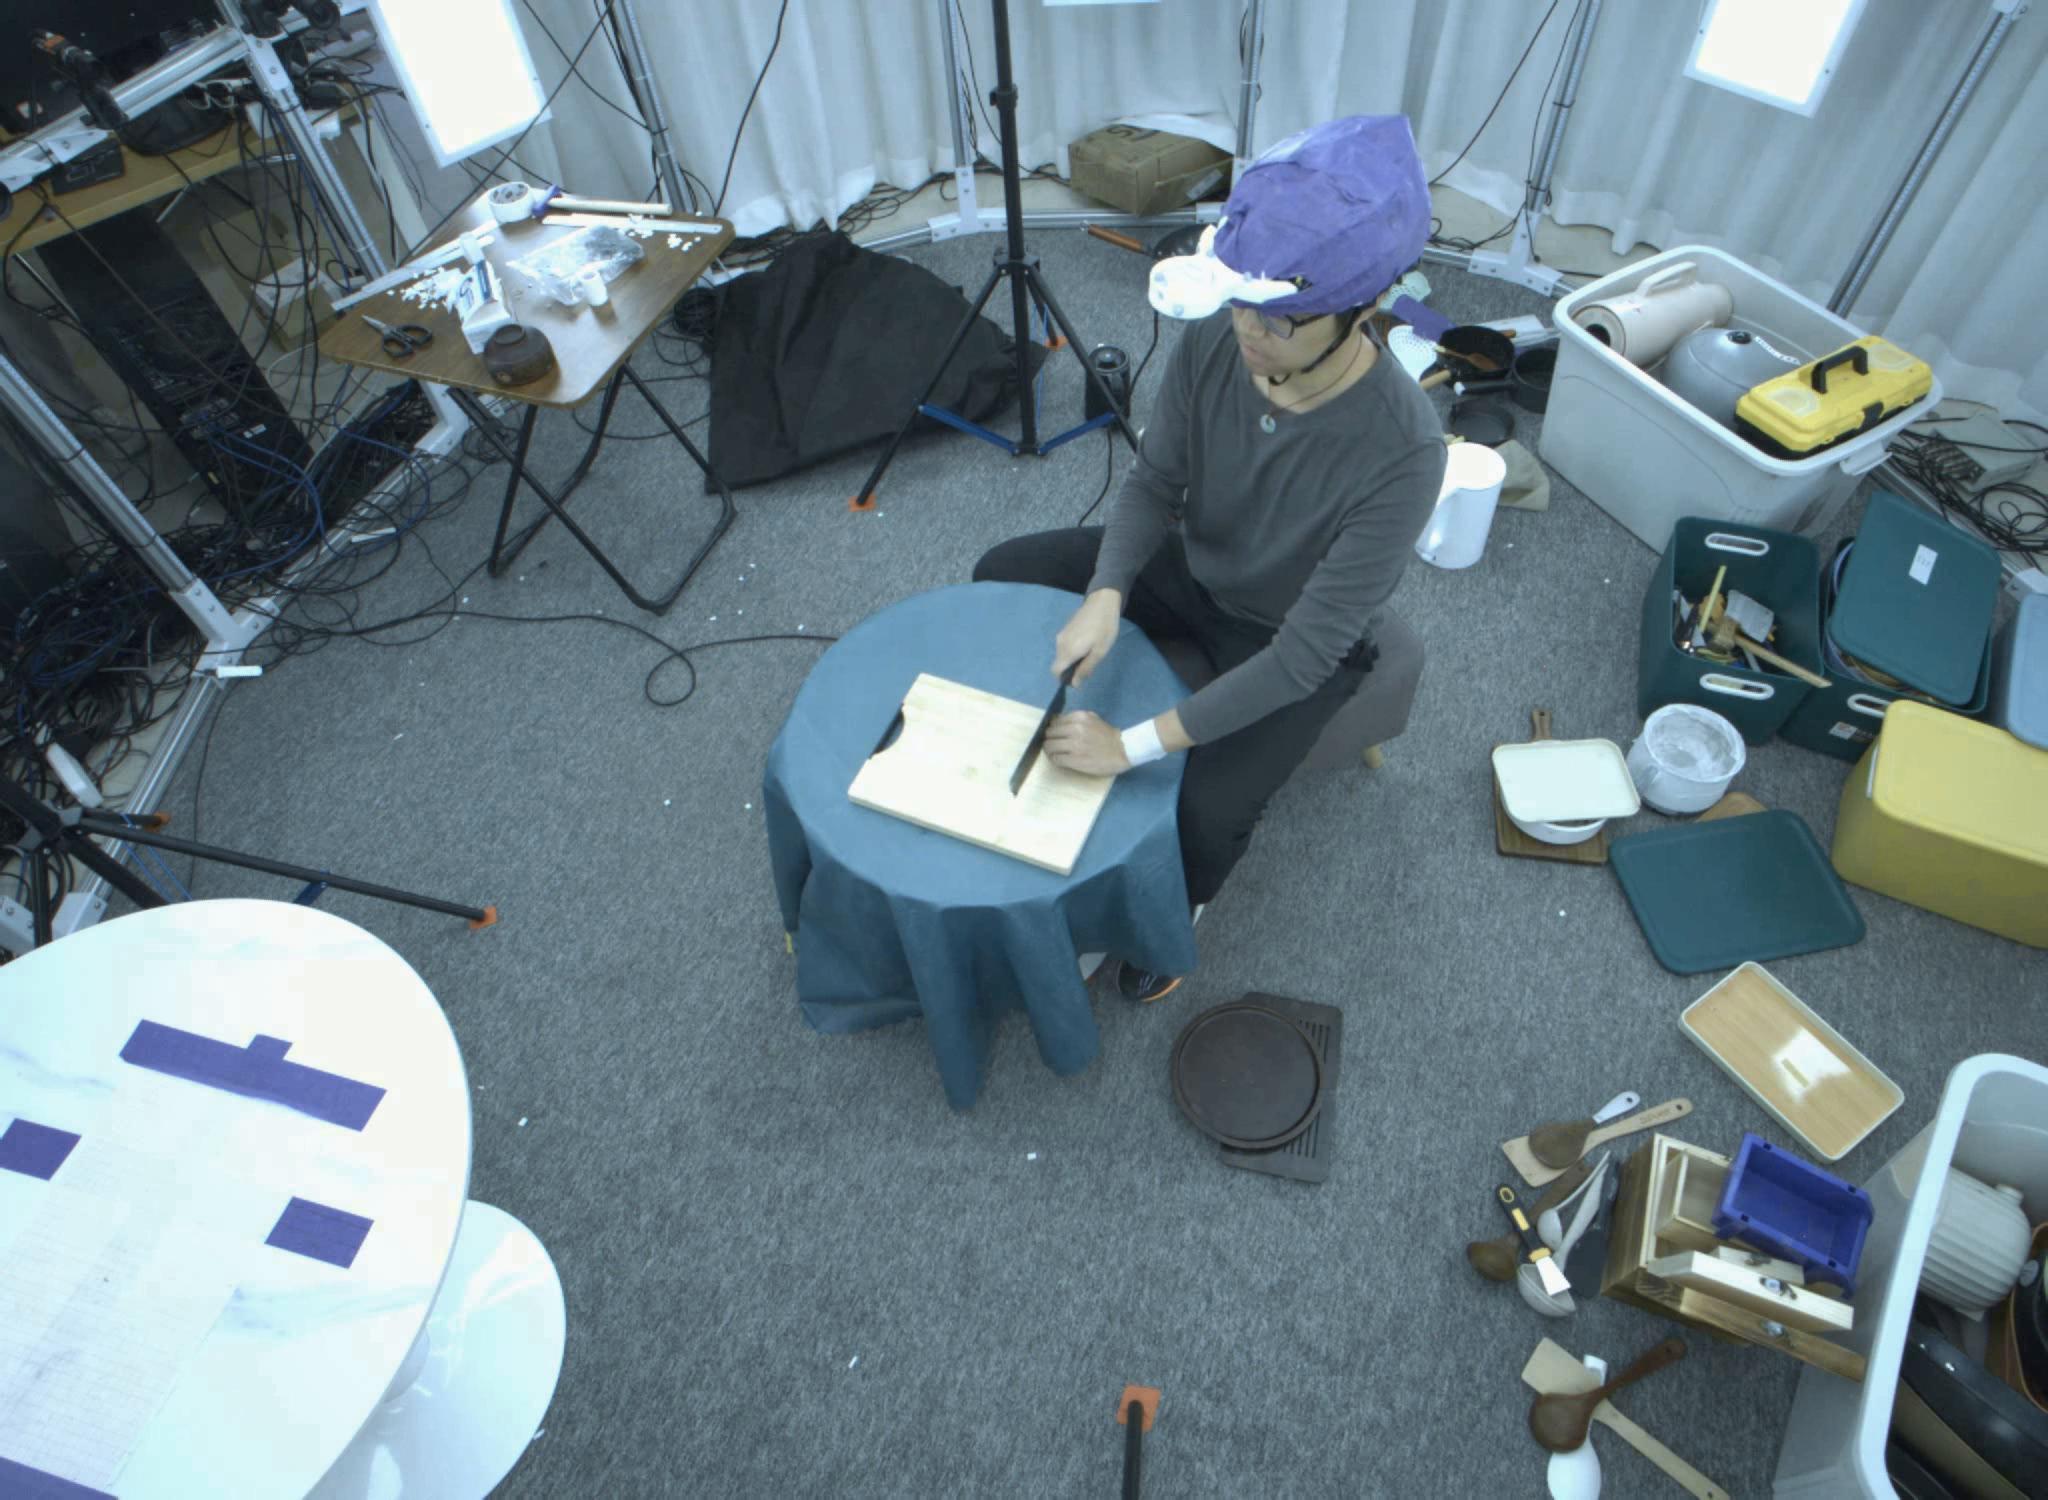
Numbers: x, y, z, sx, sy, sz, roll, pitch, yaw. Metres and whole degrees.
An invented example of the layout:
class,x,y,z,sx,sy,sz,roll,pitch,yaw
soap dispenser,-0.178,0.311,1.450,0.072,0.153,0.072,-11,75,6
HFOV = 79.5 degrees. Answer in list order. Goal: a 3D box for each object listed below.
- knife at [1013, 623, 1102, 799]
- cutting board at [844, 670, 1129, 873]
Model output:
class,x,y,z,sx,sy,sz,roll,pitch,yaw
knife,0.047,-0.063,1.747,0.020,0.082,0.302,20,63,14
cutting board,-0.053,0.024,1.769,0.345,0.024,0.250,17,56,13
